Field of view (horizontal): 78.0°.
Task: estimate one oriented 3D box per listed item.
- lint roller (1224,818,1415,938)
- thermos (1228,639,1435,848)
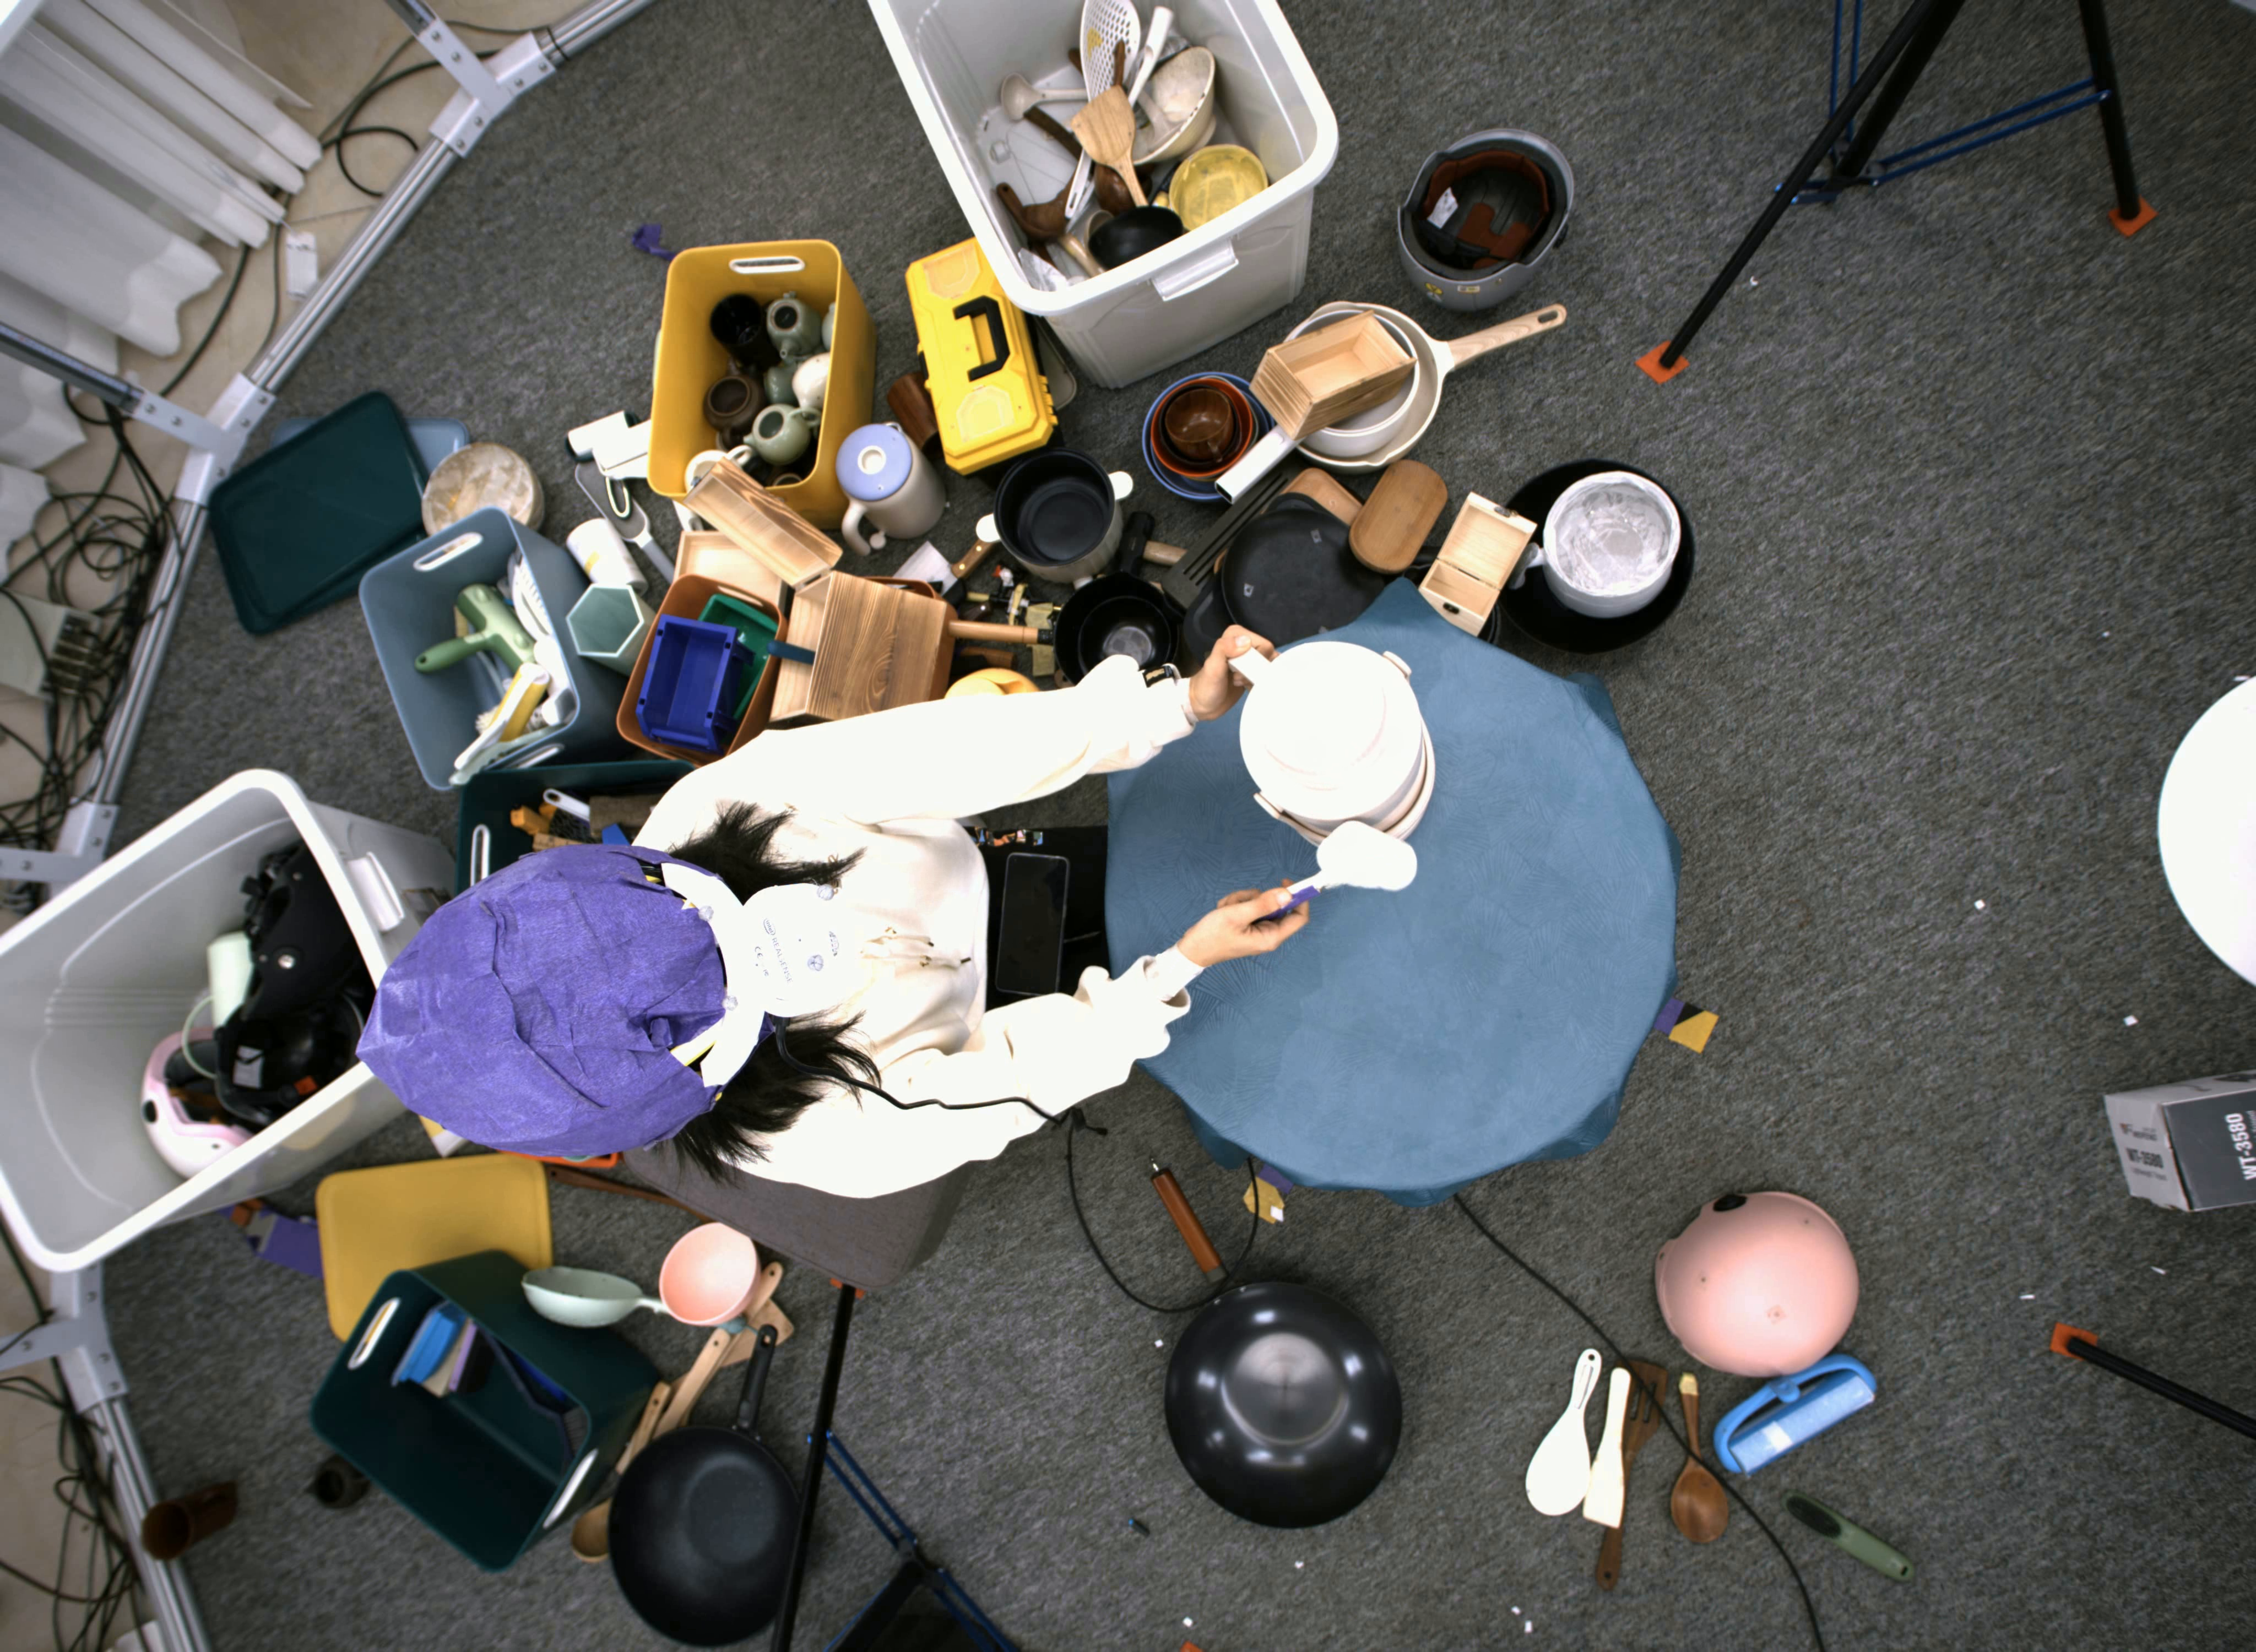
[{"bbox_3d":[0.163,0.061,1.232,0.183,0.133,0.049,-39,63,21],"label":"lint roller"},{"bbox_3d":[0.187,-0.080,1.279,0.206,0.407,0.176,43,95,15],"label":"thermos"}]
